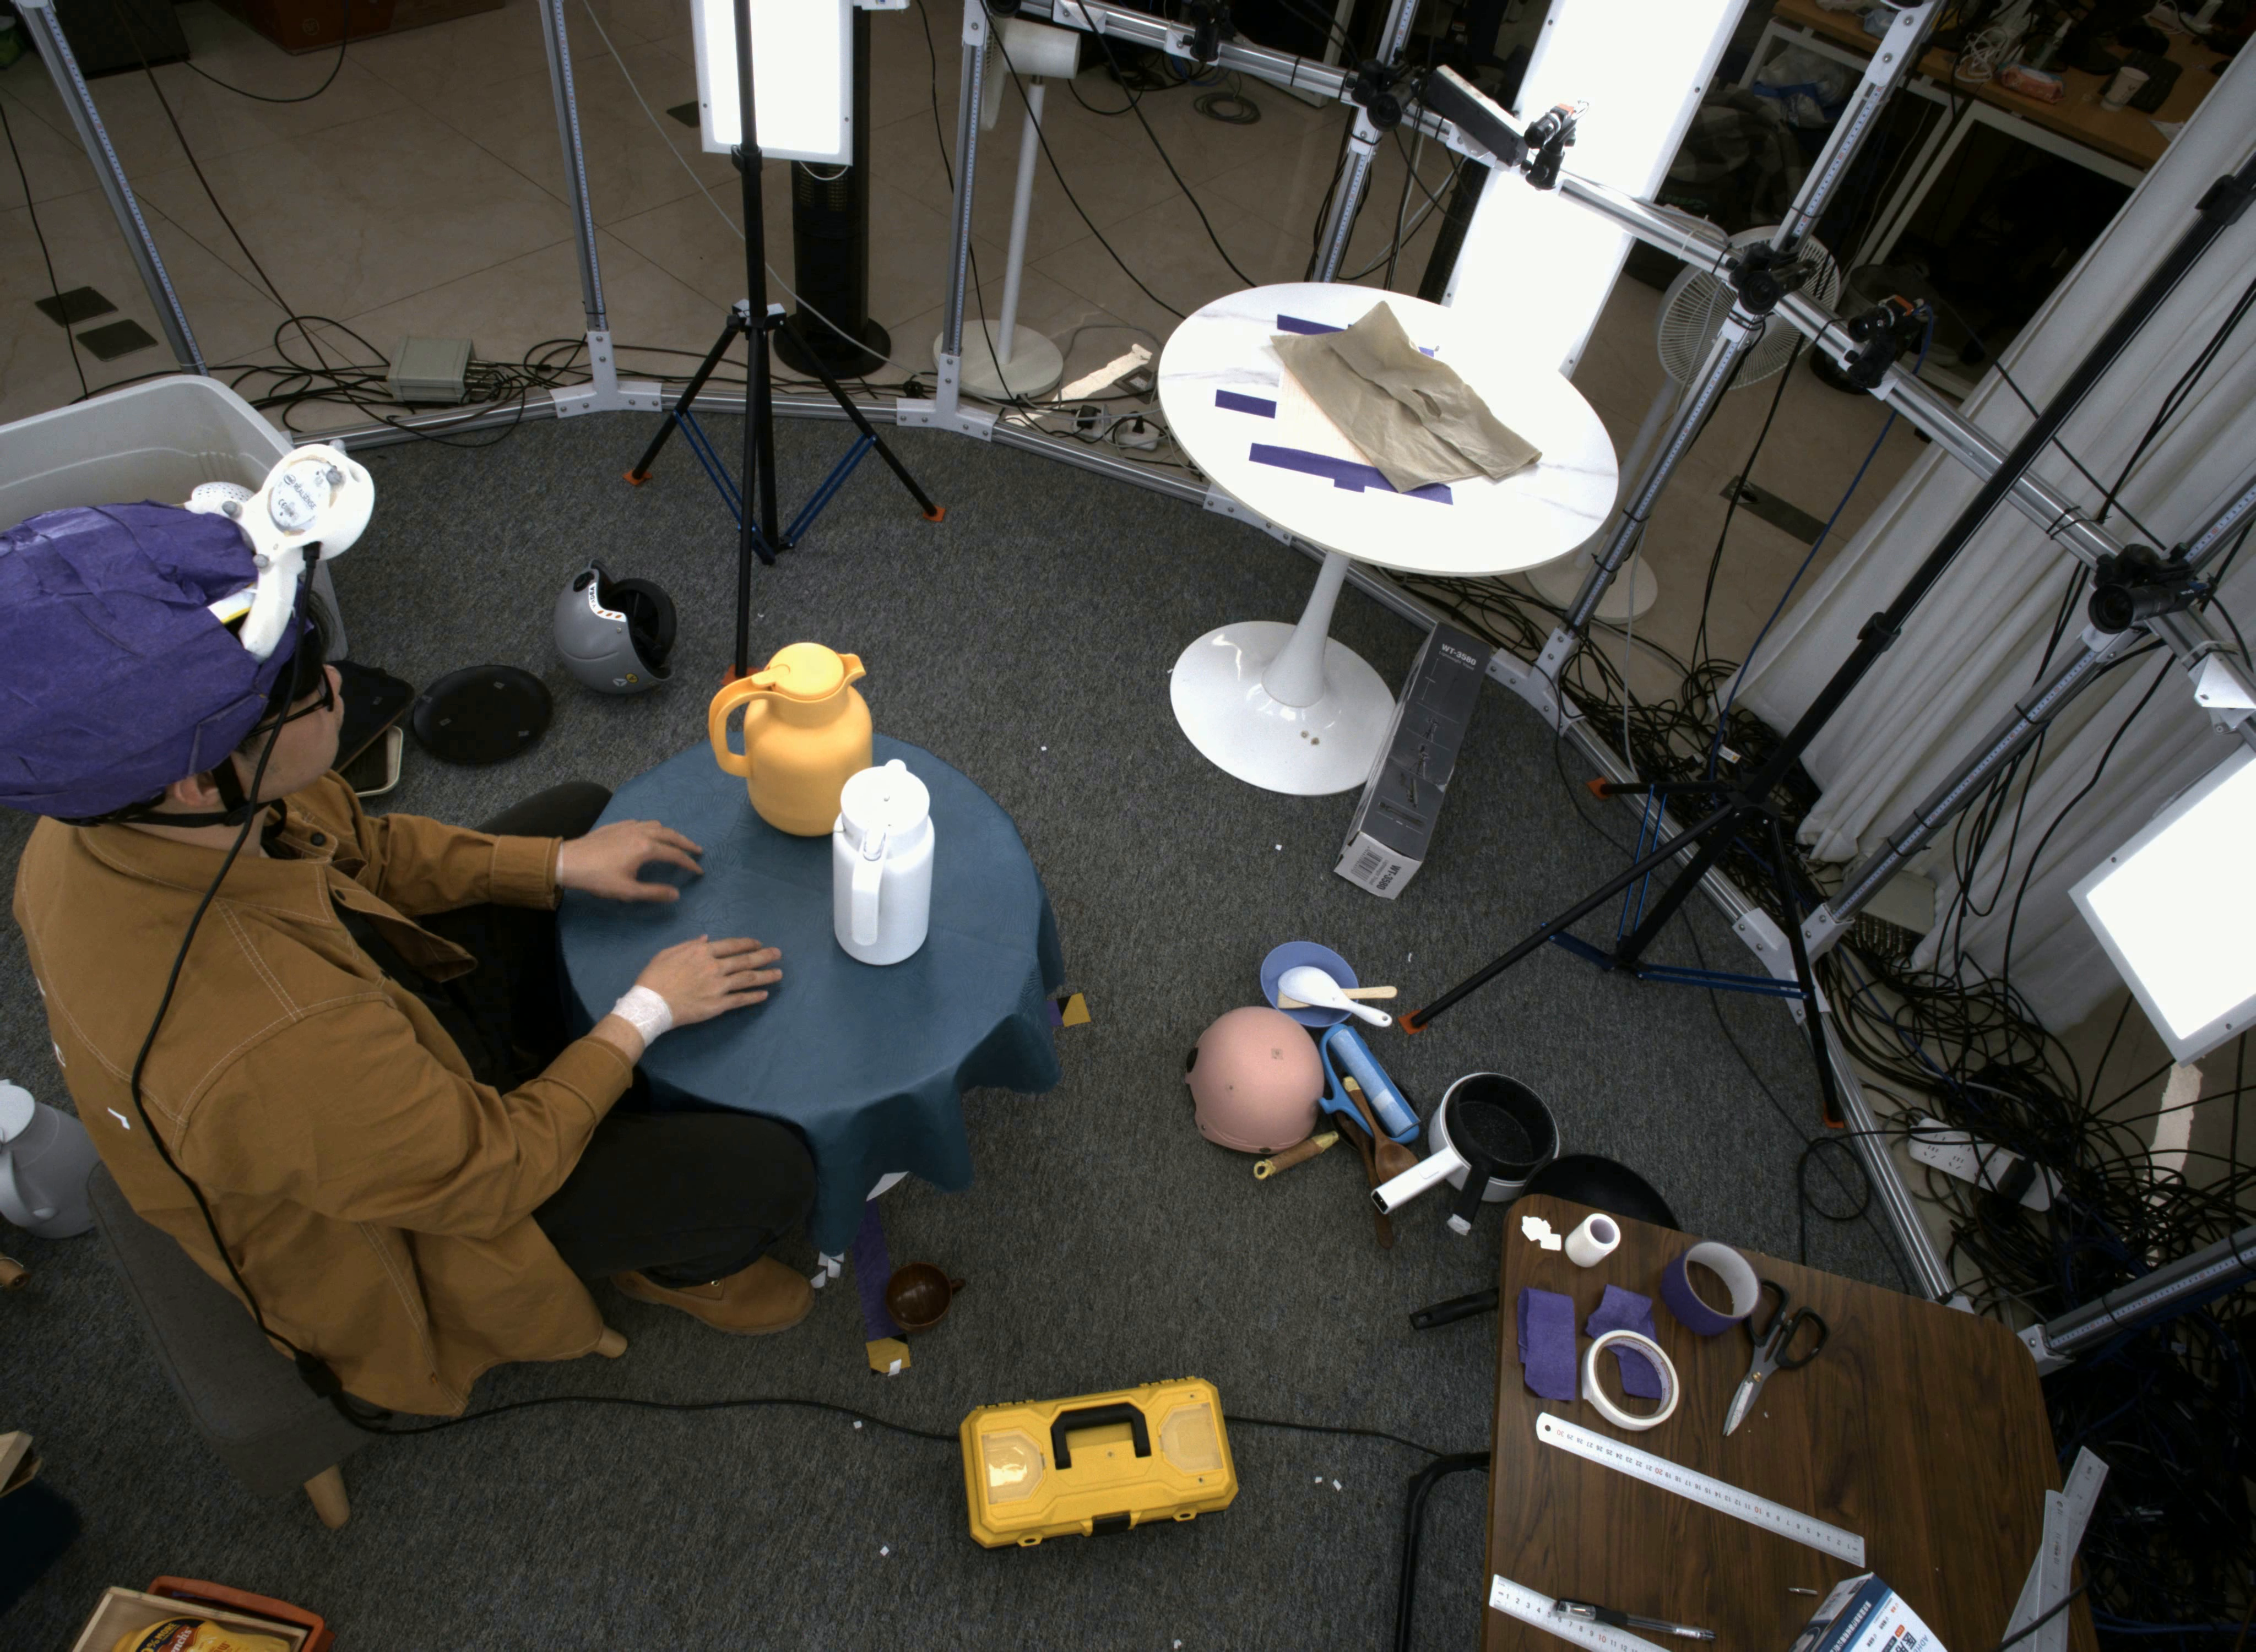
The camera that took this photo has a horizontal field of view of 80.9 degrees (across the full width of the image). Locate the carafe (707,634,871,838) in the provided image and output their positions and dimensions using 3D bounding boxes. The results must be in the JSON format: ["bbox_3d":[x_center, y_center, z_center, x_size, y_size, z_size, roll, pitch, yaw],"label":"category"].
[{"bbox_3d":[-0.426,-0.116,1.637,0.203,0.266,0.159,-13,53,-23],"label":"carafe"}]

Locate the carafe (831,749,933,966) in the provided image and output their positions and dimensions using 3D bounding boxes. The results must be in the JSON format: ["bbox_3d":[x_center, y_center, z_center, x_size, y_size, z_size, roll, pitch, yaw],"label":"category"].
[{"bbox_3d":[-0.293,0.060,1.538,0.123,0.274,0.170,10,51,-6],"label":"carafe"}]
